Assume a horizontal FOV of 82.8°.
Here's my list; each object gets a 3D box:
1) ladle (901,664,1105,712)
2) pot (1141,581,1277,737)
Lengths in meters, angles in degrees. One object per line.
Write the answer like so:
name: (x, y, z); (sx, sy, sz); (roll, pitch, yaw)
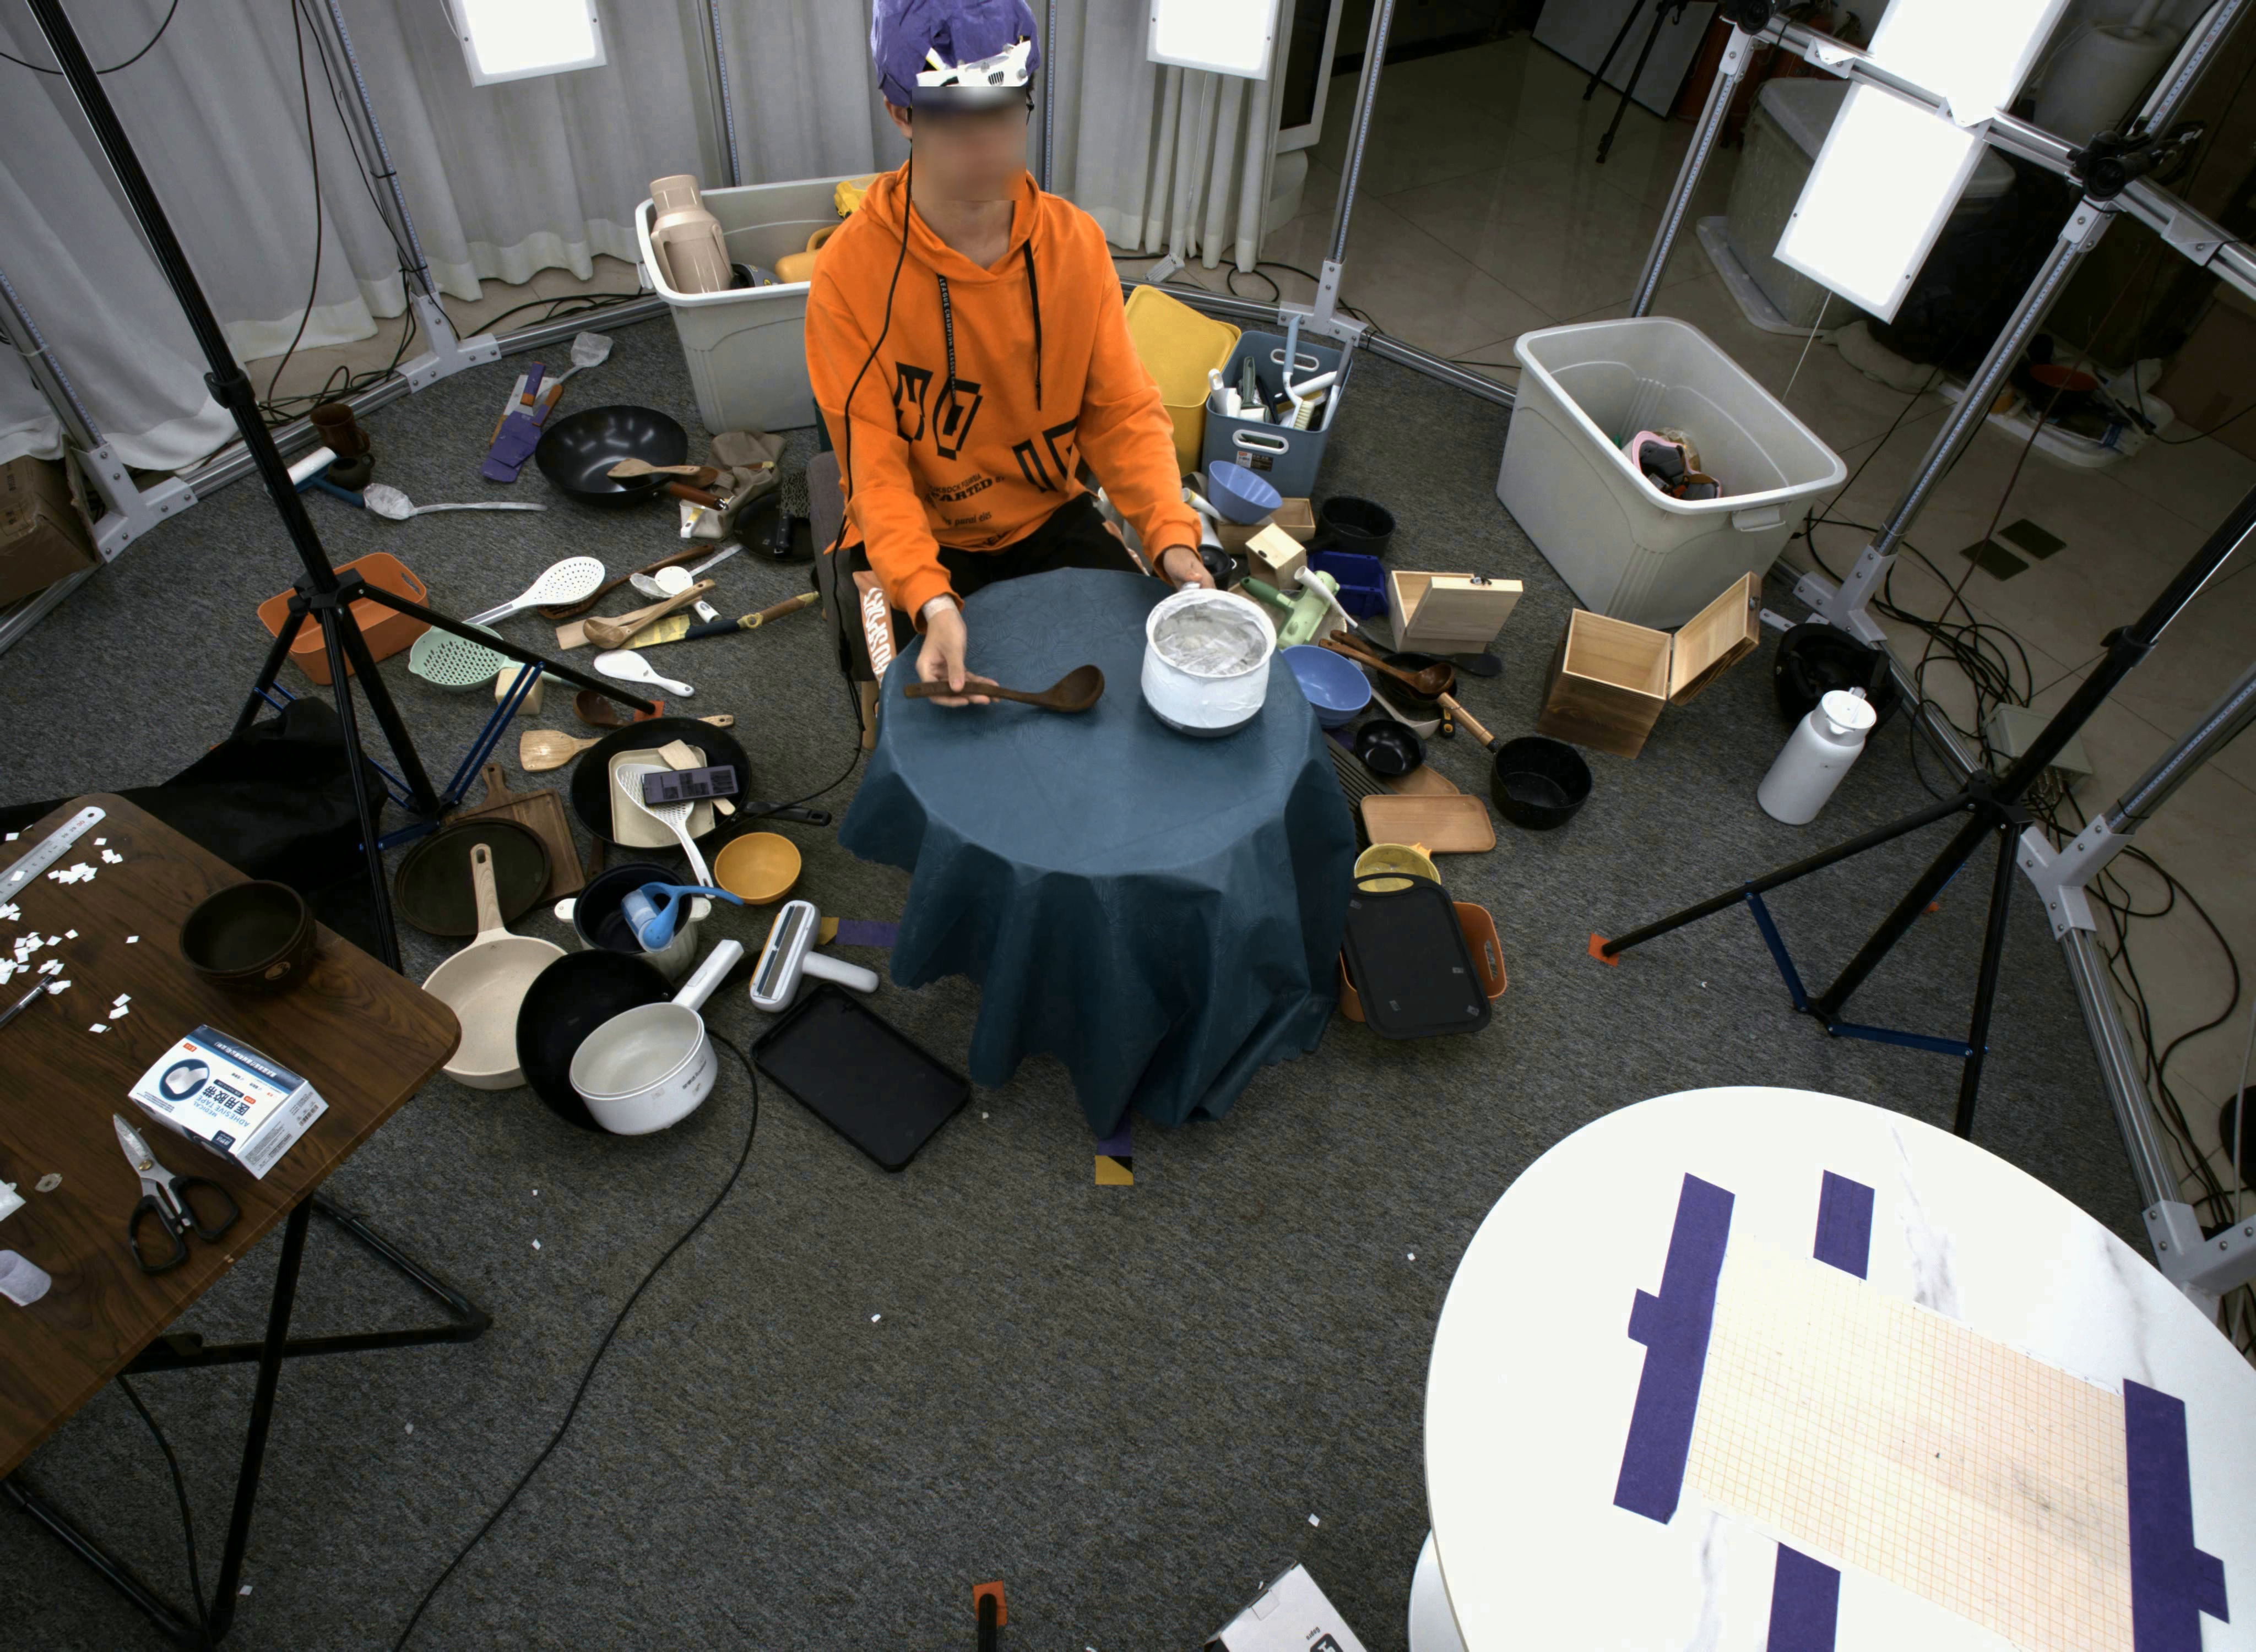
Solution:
ladle: (-0.167, -0.198, 1.756); (0.273, 0.070, 0.078); (3, 36, -21)
pot: (0.102, -0.243, 1.798); (0.178, 0.133, 0.239); (-8, 50, -11)
